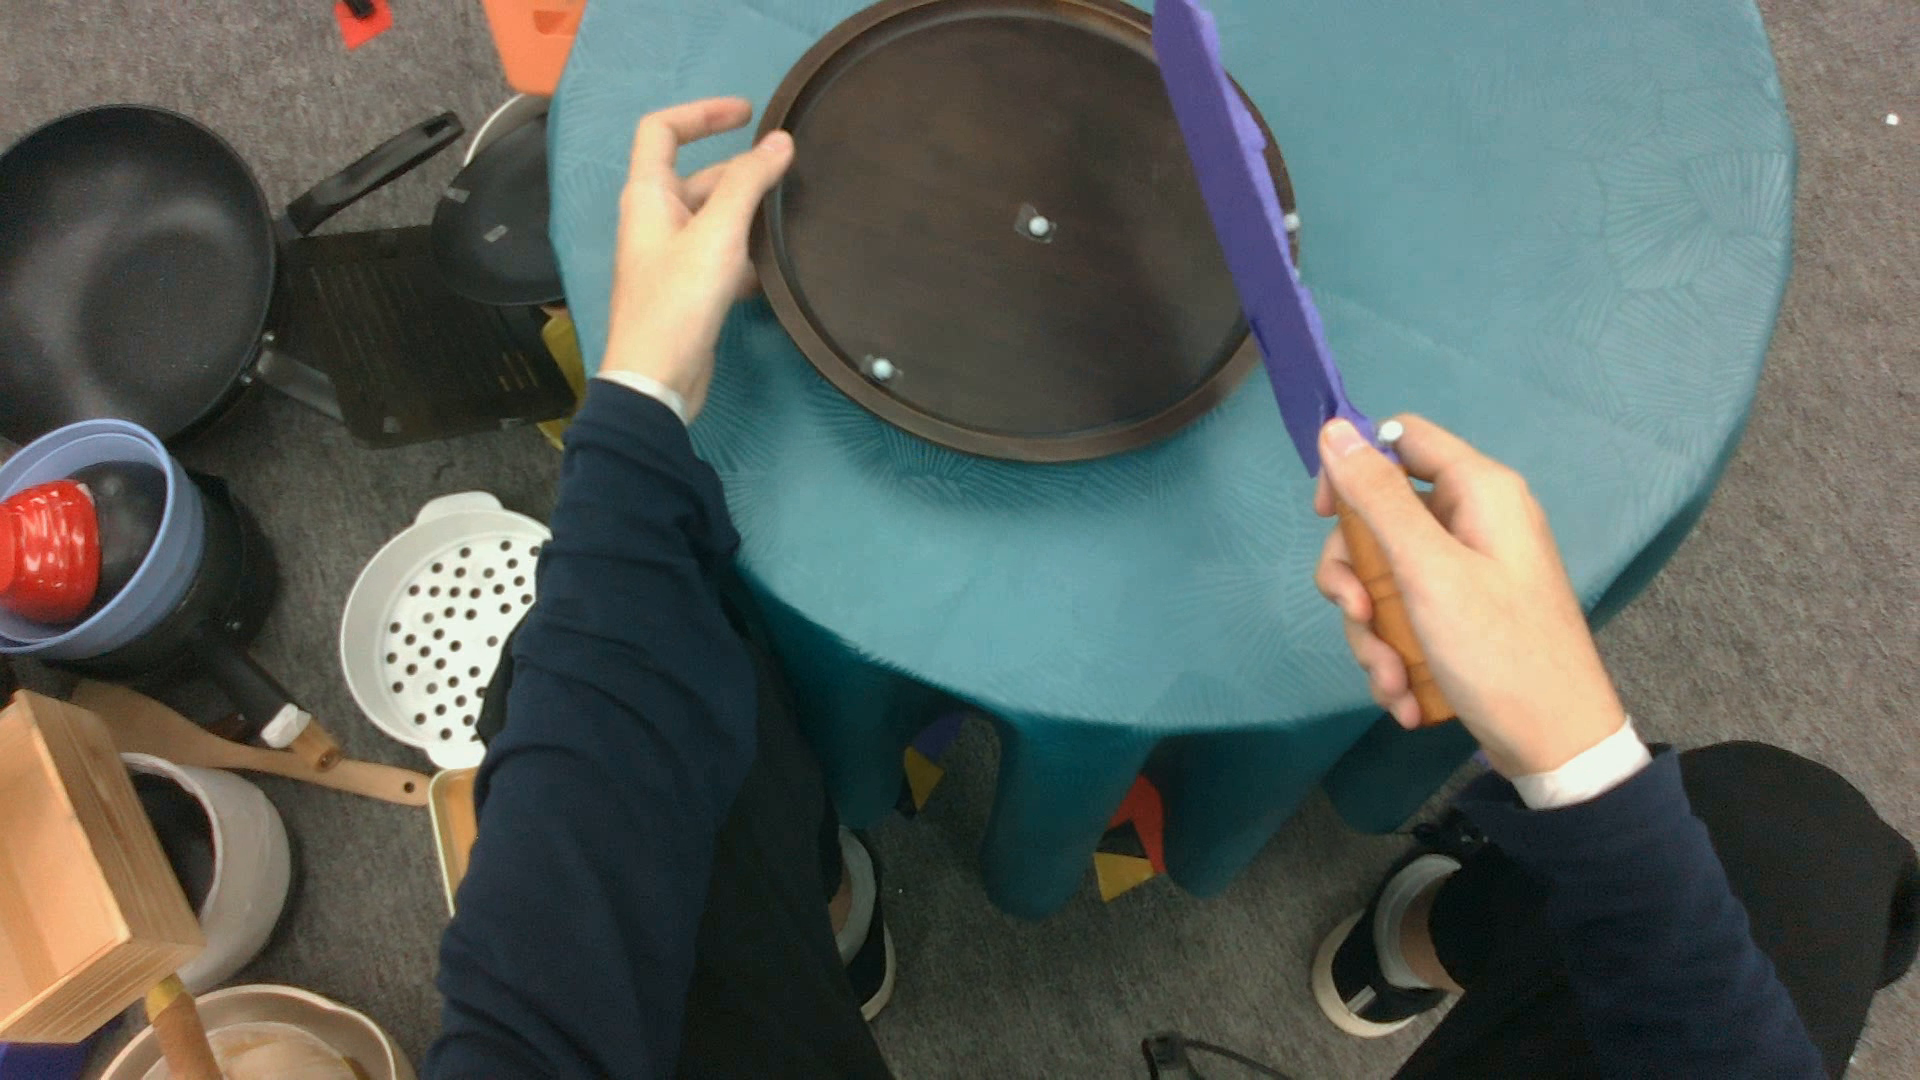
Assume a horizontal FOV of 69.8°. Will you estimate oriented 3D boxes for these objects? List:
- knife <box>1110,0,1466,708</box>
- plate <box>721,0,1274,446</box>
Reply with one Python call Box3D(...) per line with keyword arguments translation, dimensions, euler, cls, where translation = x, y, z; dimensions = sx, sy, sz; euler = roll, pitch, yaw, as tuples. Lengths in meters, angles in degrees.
Box3D(translation=(0.117, -0.089, 0.532), dimensions=(0.032, 0.104, 0.315), euler=(-18, 80, 2), cls="knife")
Box3D(translation=(0.018, -0.158, 0.631), dimensions=(0.255, 0.029, 0.255), euler=(3, 69, -7), cls="plate")
